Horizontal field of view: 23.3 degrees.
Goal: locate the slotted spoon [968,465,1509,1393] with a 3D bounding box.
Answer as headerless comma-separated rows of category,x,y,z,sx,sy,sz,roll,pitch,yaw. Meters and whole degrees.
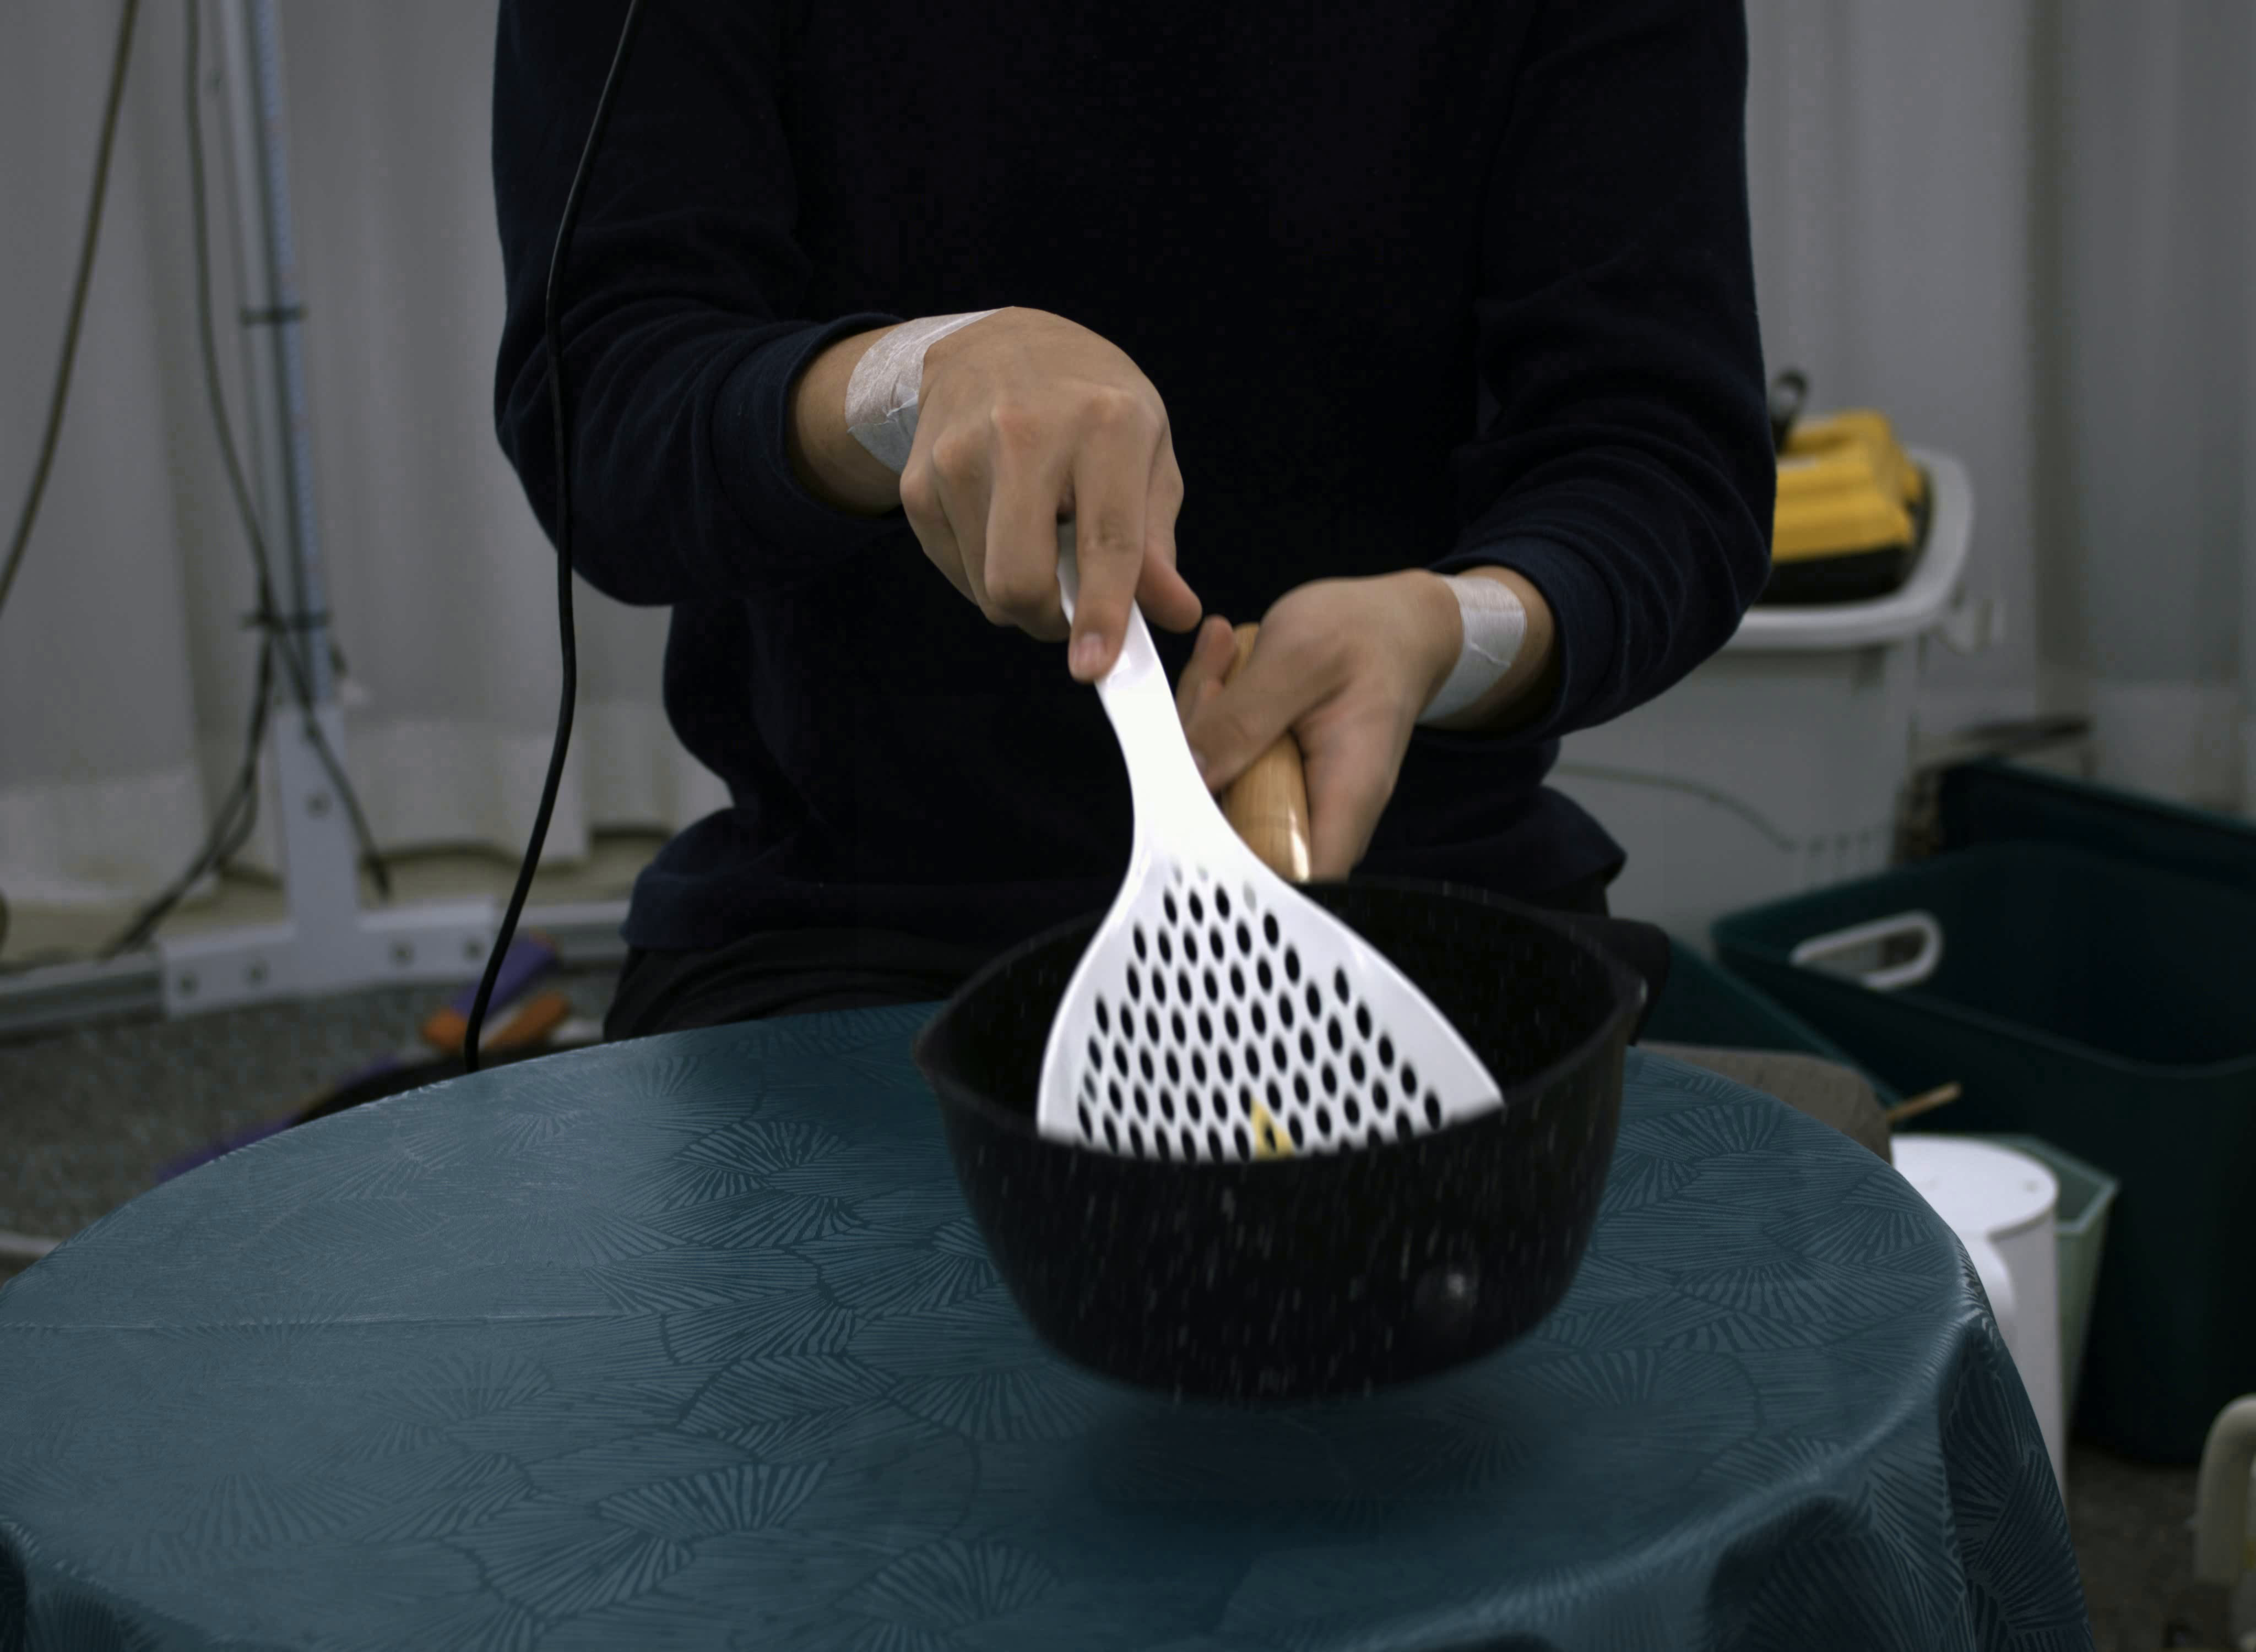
slotted spoon,0.014,0.018,1.542,0.136,0.050,0.353,-9,56,-14

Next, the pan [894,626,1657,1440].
pan,0.041,0.053,1.554,0.207,0.107,0.346,-6,23,2
